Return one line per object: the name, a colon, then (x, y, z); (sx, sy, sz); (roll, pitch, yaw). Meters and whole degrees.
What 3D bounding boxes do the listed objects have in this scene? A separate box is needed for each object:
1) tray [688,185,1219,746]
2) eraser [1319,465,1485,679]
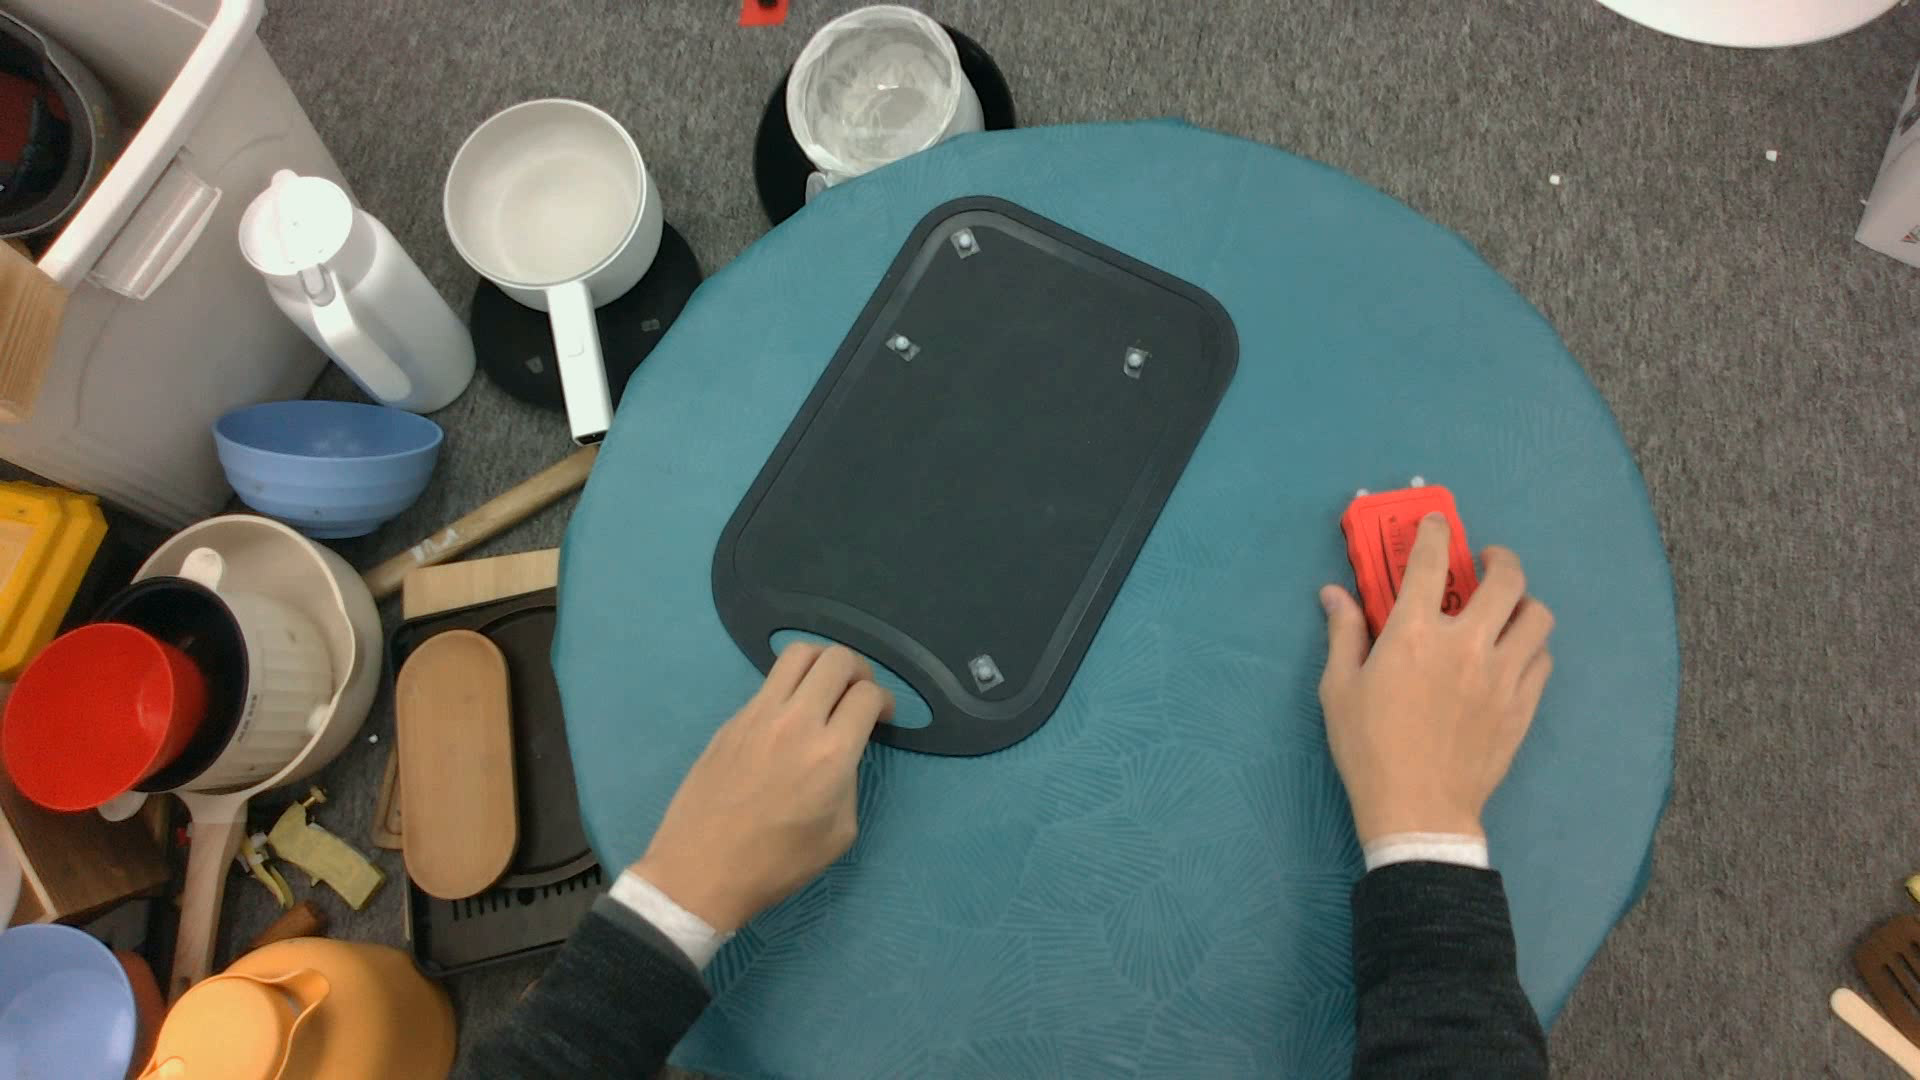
tray: (-0.004, -0.047, 0.768); (0.211, 0.010, 0.326); (27, 73, 10)
eraser: (0.231, 0.016, 0.725); (0.059, 0.023, 0.108); (-11, 71, -2)
